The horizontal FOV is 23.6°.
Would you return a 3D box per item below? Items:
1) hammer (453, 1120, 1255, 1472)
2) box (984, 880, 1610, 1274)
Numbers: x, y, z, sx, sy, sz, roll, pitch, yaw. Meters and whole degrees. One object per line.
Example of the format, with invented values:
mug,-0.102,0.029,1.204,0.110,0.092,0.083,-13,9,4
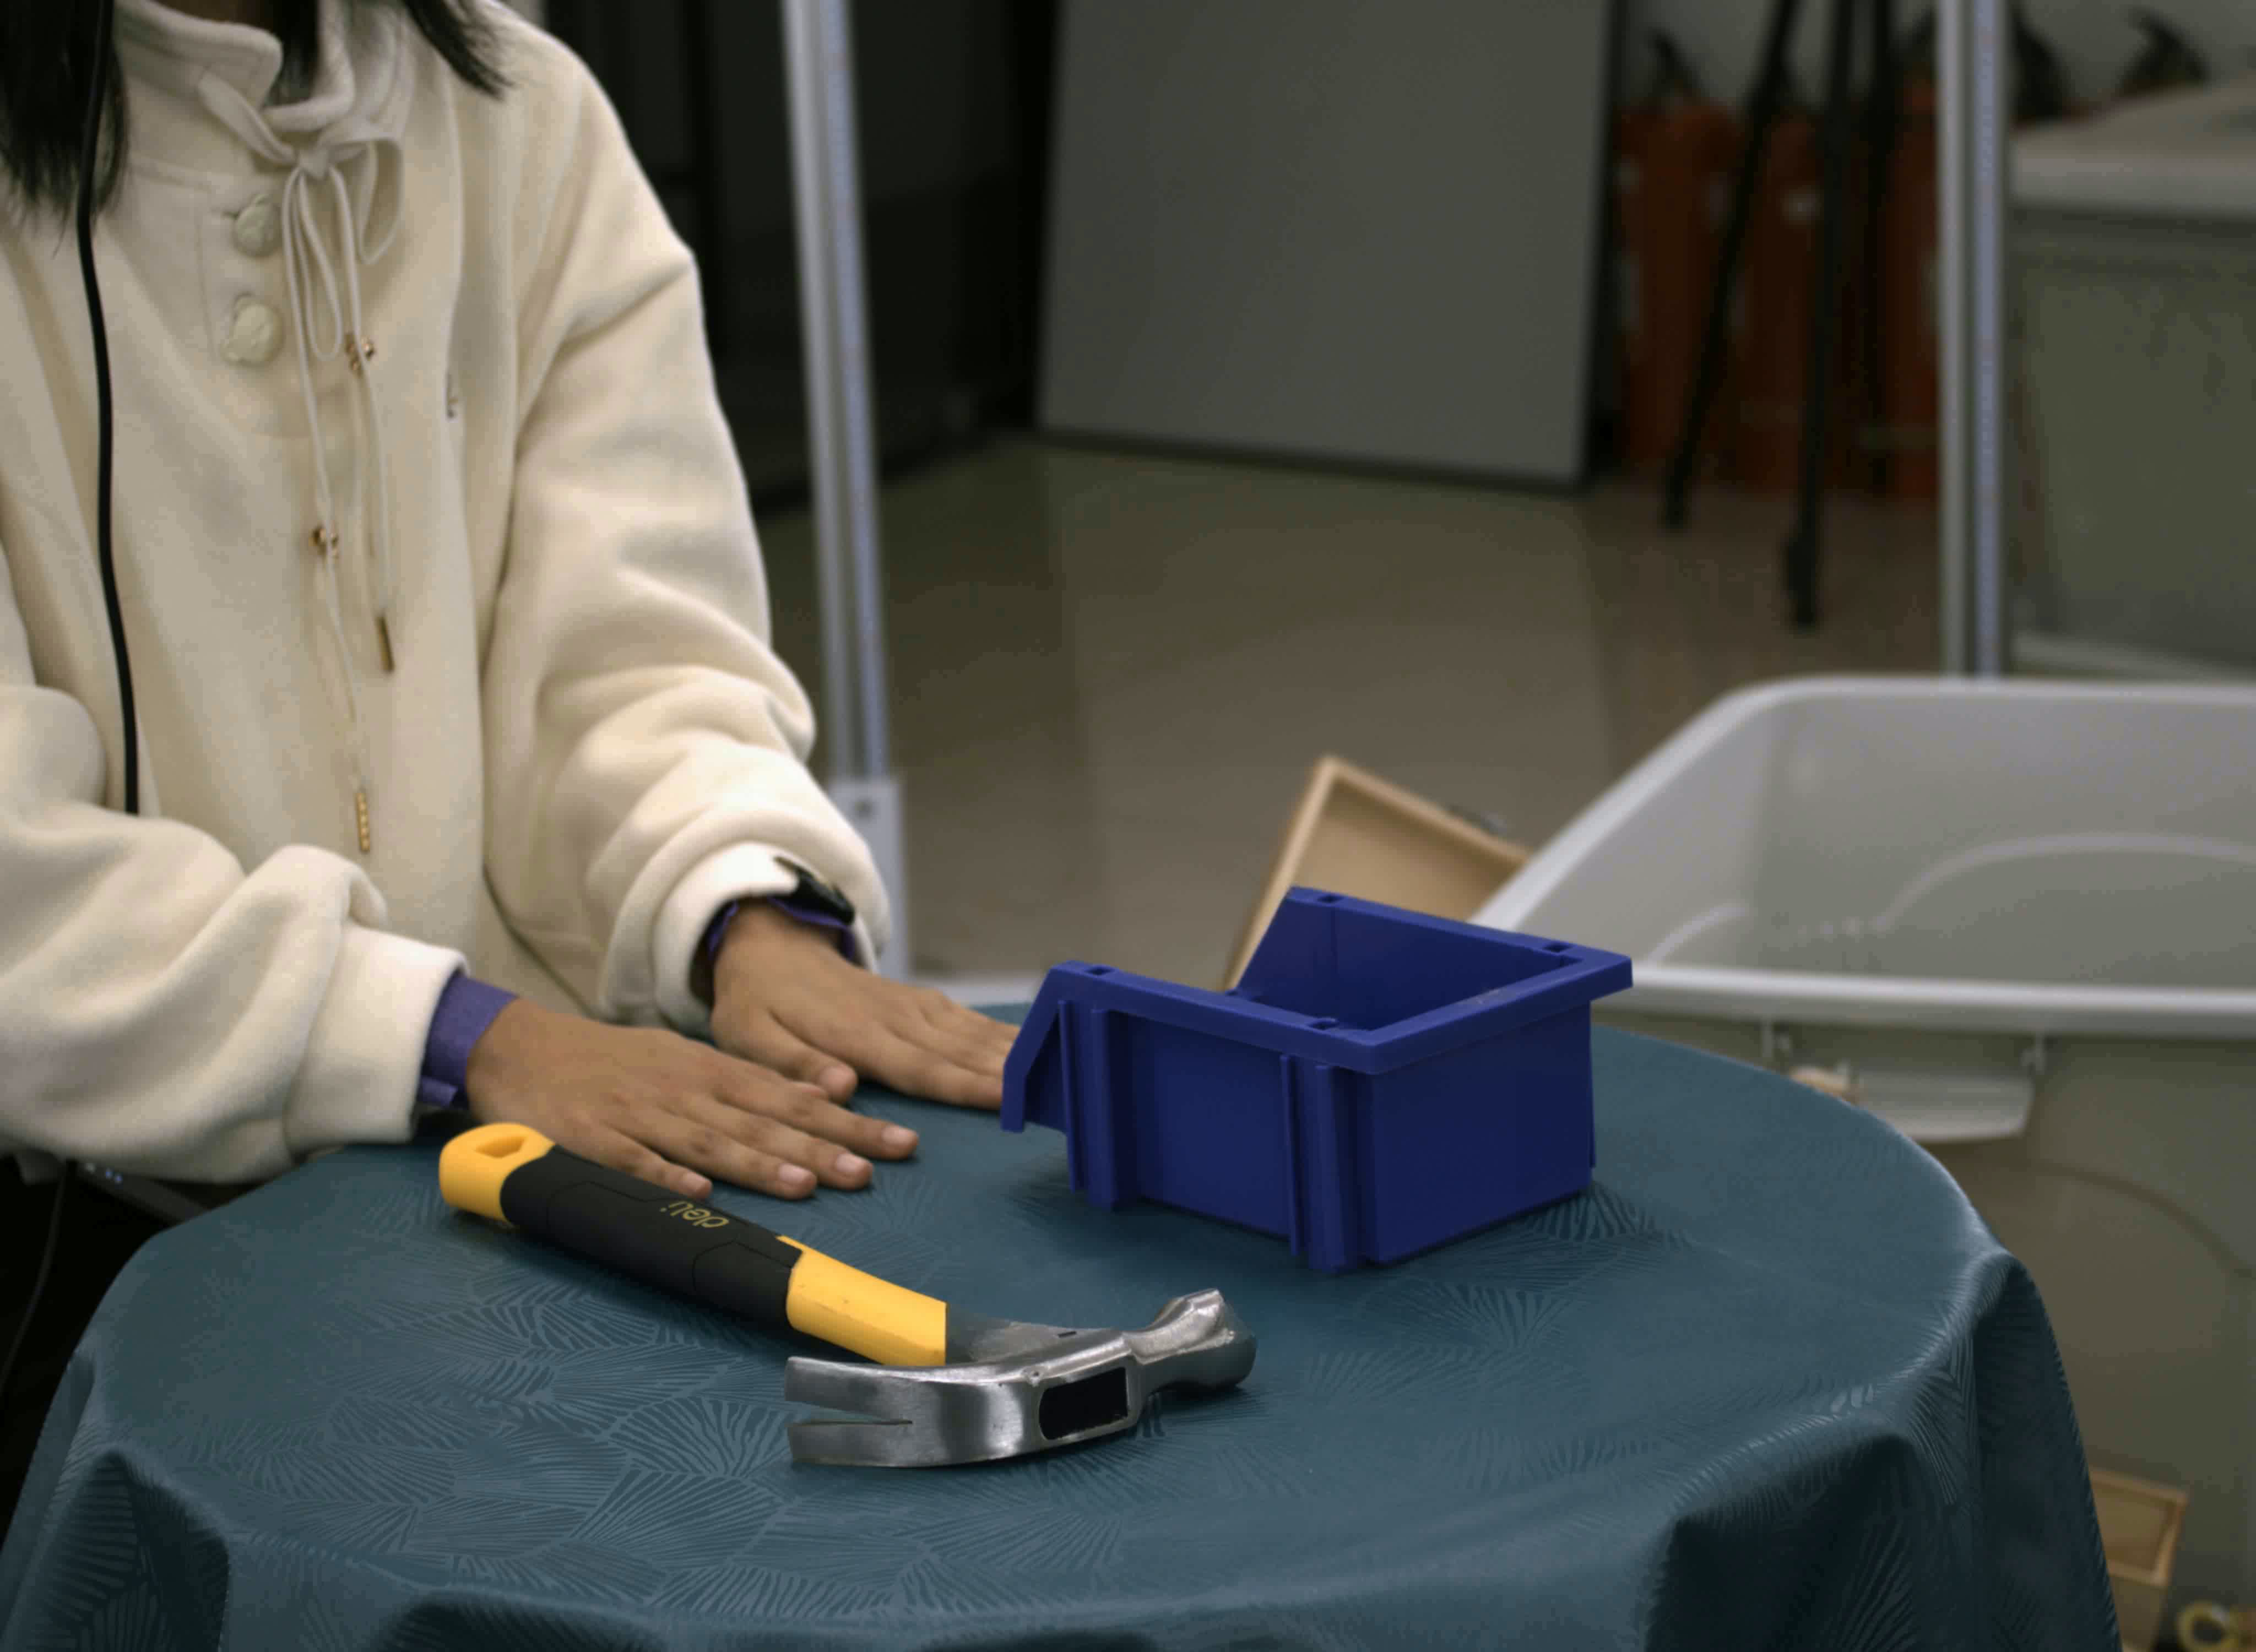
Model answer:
hammer,-0.112,0.137,1.669,0.128,0.032,0.342,-15,18,-33
box,0.052,0.078,1.758,0.122,0.083,0.181,-15,20,-39
